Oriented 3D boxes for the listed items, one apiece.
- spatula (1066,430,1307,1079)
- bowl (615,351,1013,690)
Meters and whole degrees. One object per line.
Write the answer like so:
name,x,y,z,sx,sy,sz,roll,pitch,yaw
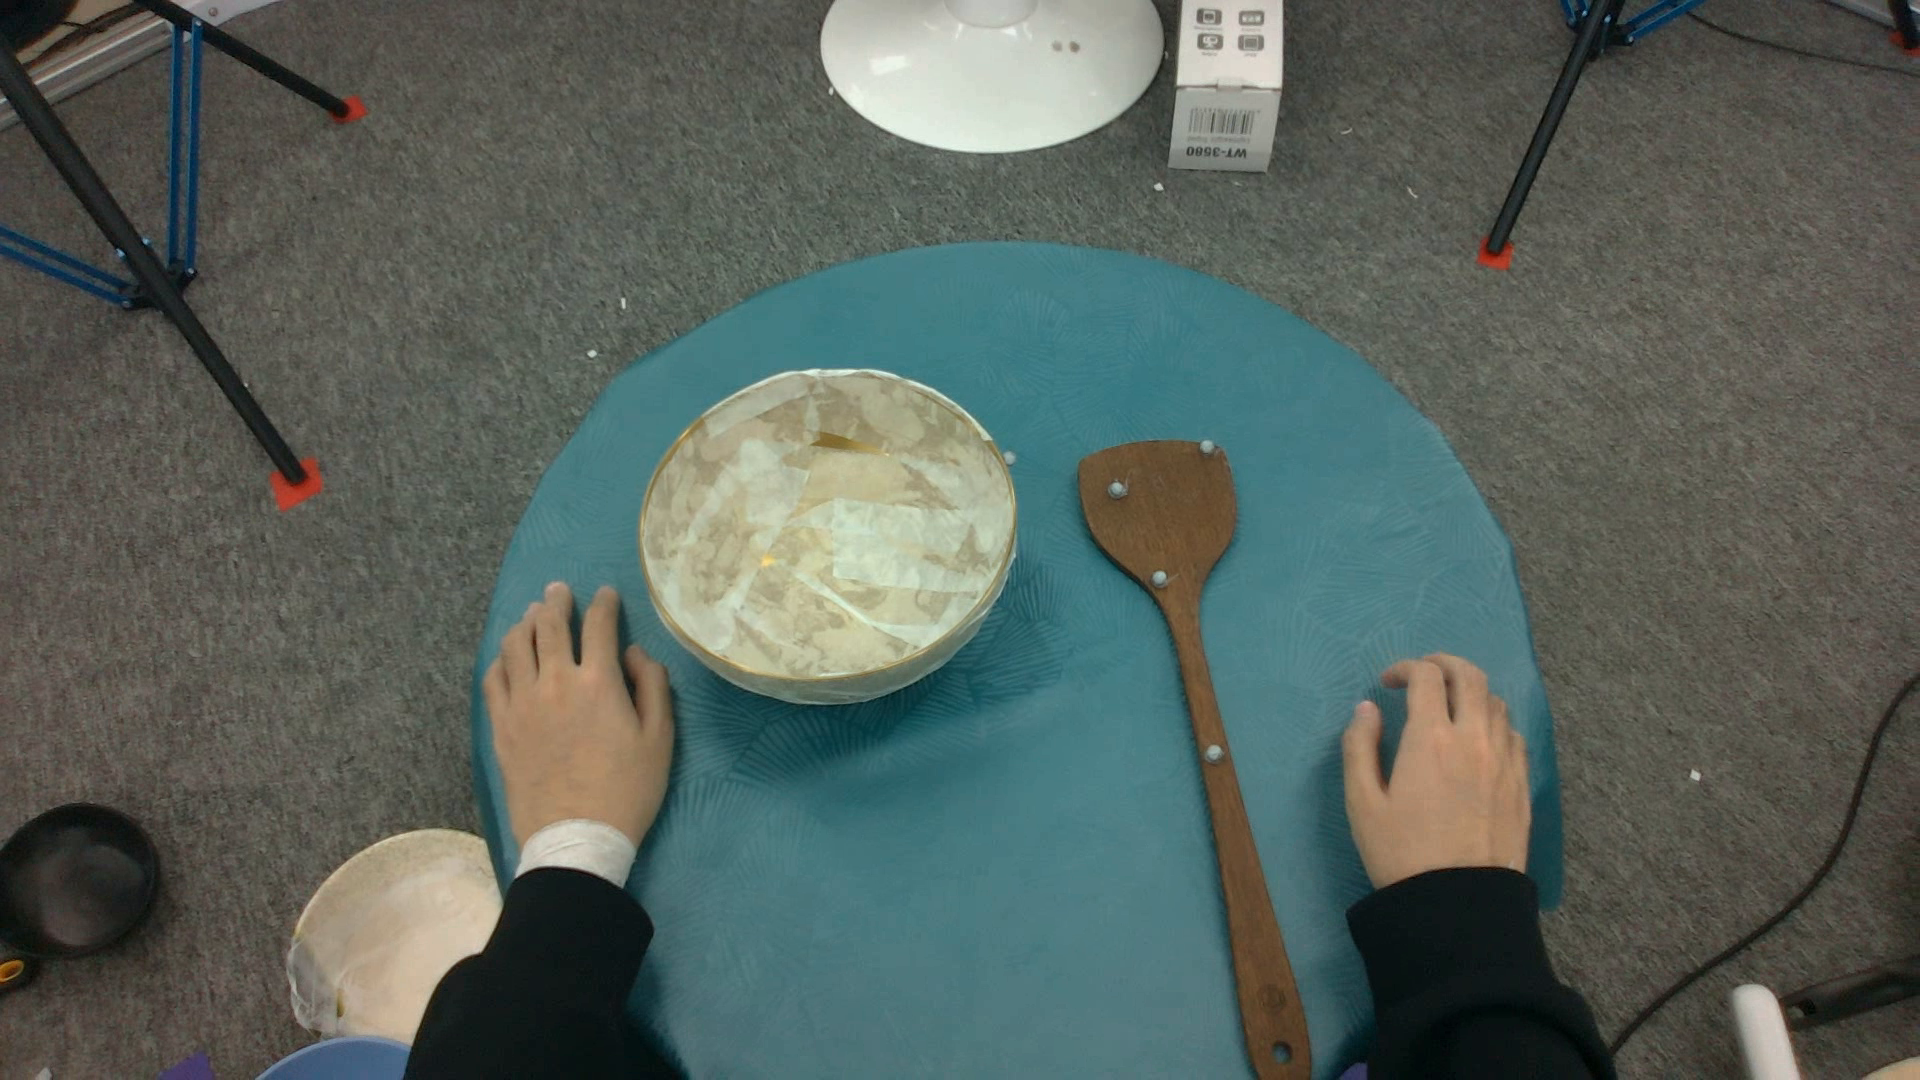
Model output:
spatula,0.130,0.094,0.745,0.096,0.016,0.387,-6,56,-3
bowl,-0.078,0.004,0.758,0.215,0.094,0.215,1,57,-1
